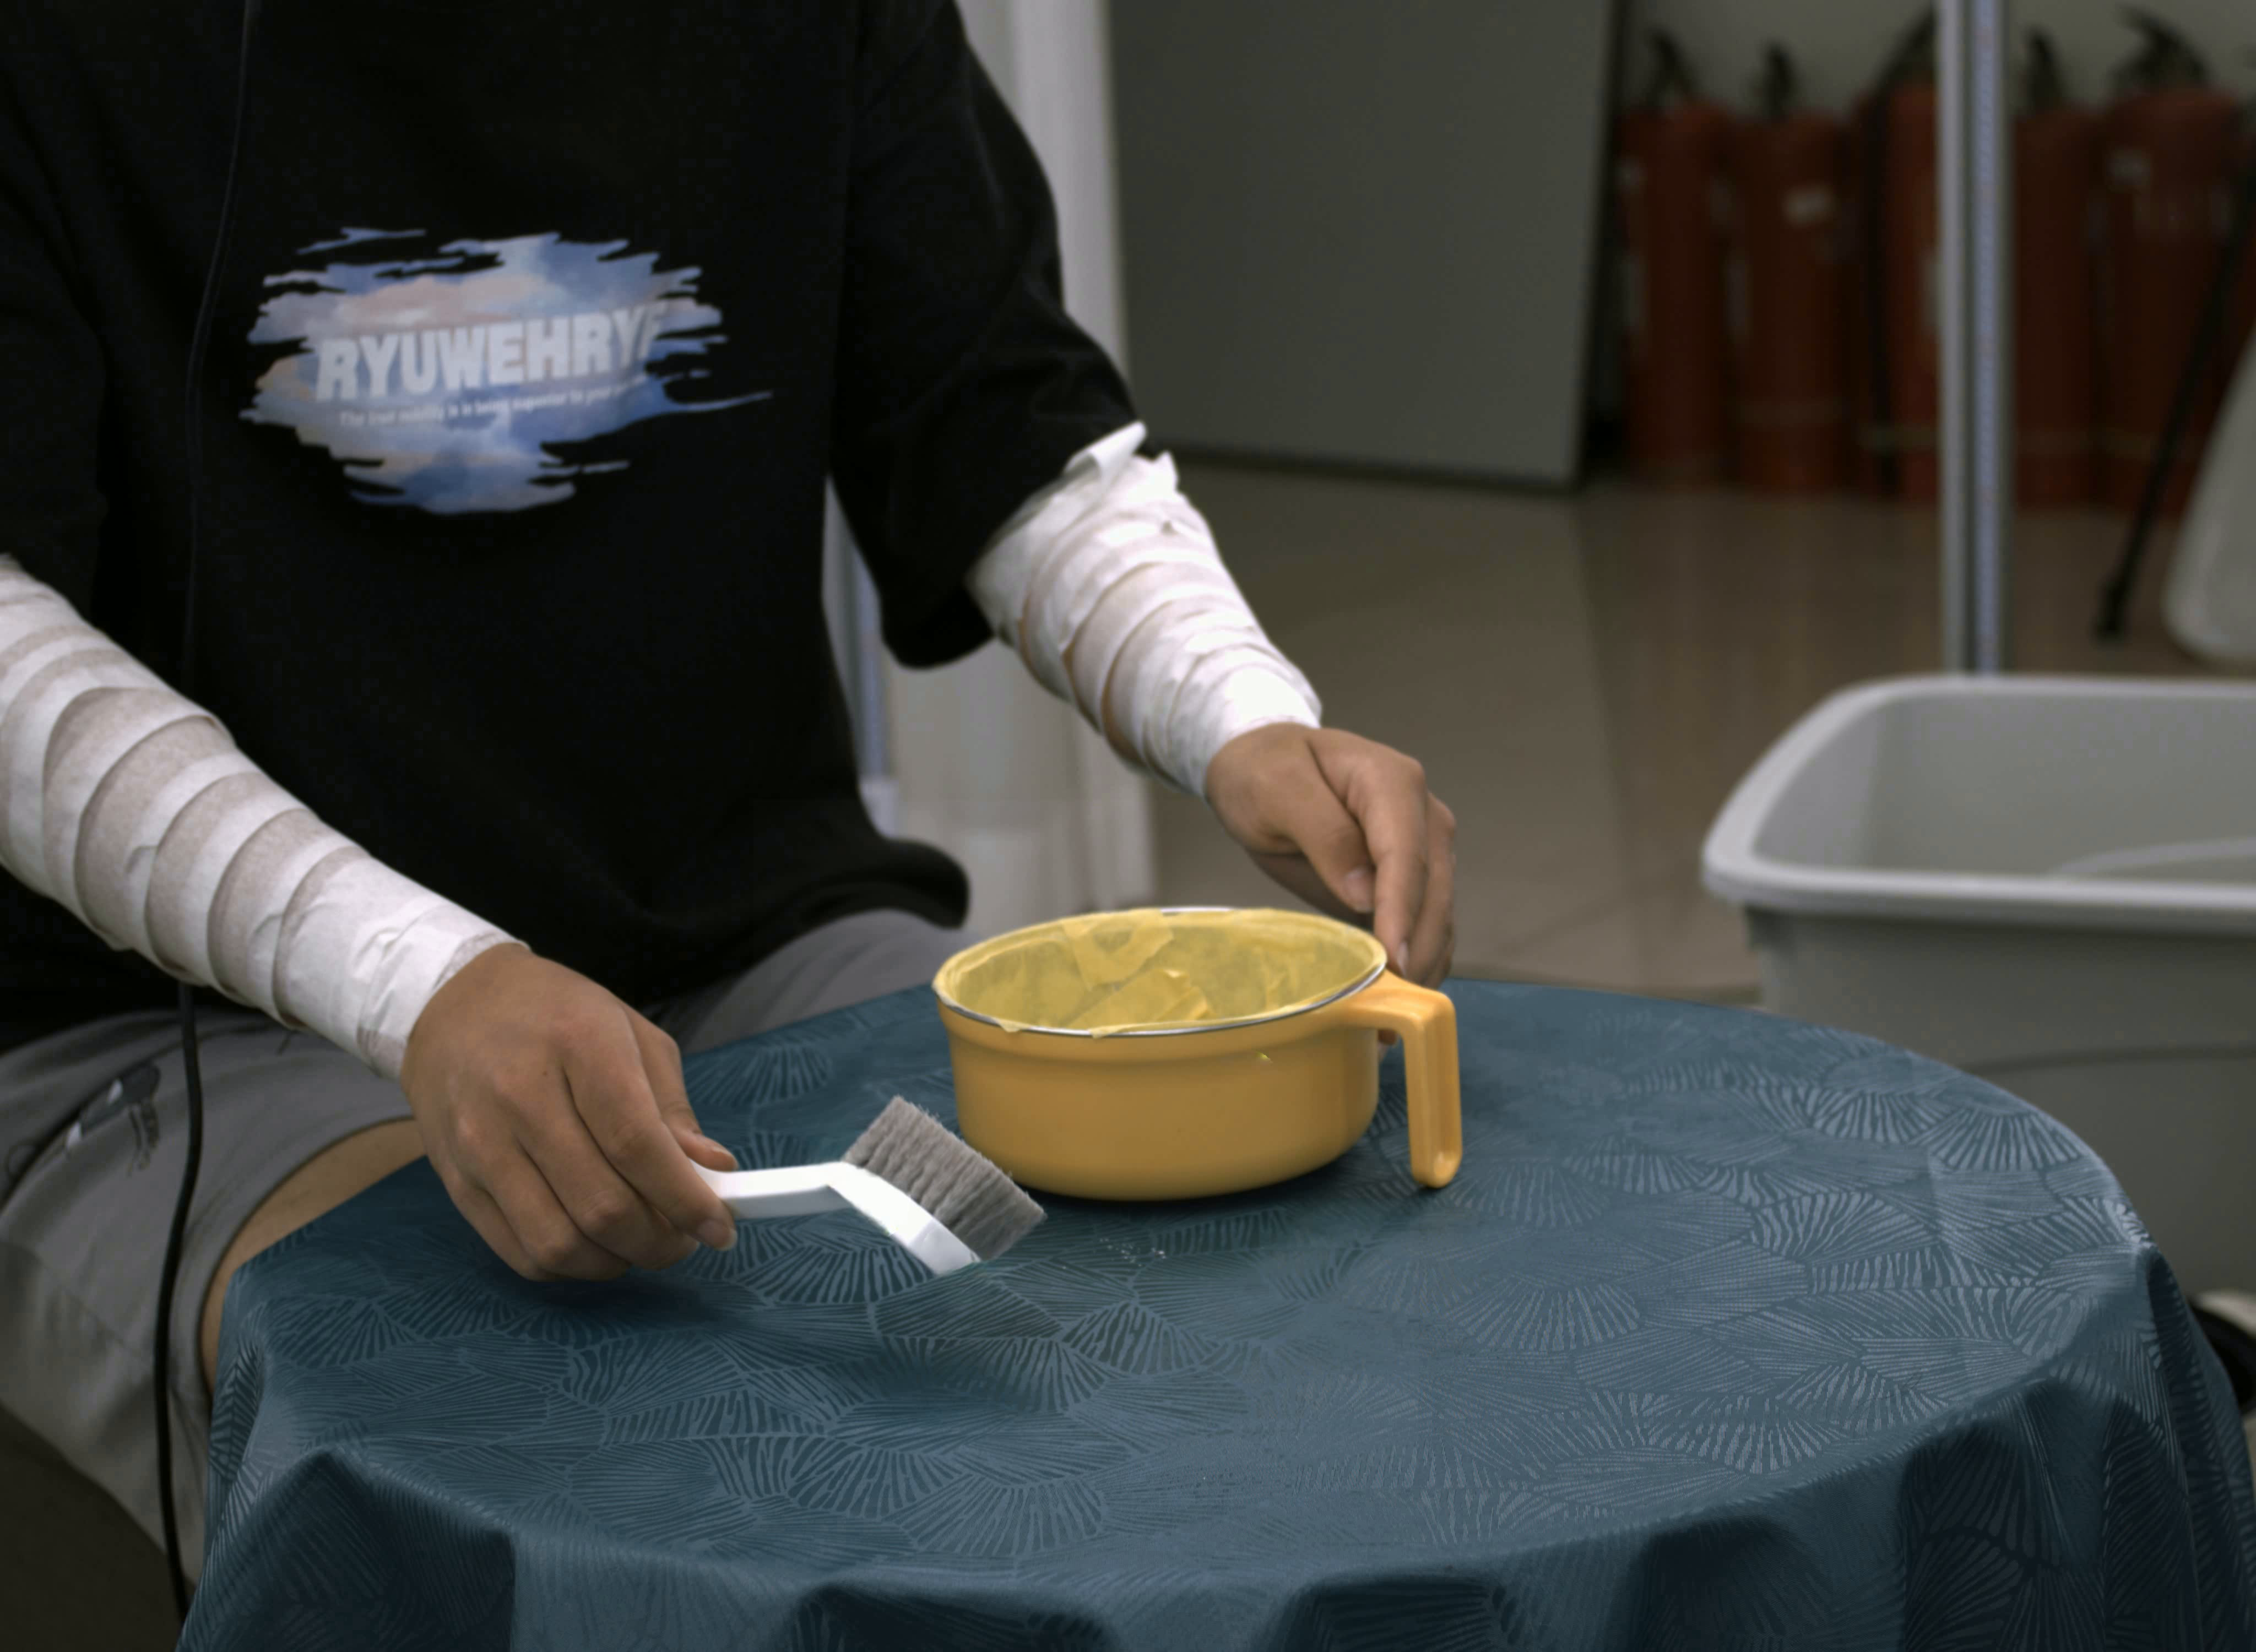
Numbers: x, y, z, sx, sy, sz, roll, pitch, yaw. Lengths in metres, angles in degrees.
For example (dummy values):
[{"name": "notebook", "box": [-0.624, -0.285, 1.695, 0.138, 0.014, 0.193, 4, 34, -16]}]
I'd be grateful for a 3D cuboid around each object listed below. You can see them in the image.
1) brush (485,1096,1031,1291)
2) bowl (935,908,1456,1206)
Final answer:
[{"name": "brush", "box": [-0.118, 0.106, 1.687, 0.246, 0.050, 0.034, 3, -30, 50]}, {"name": "bowl", "box": [0.024, 0.080, 1.791, 0.179, 0.075, 0.151, 3, 12, 26]}]
